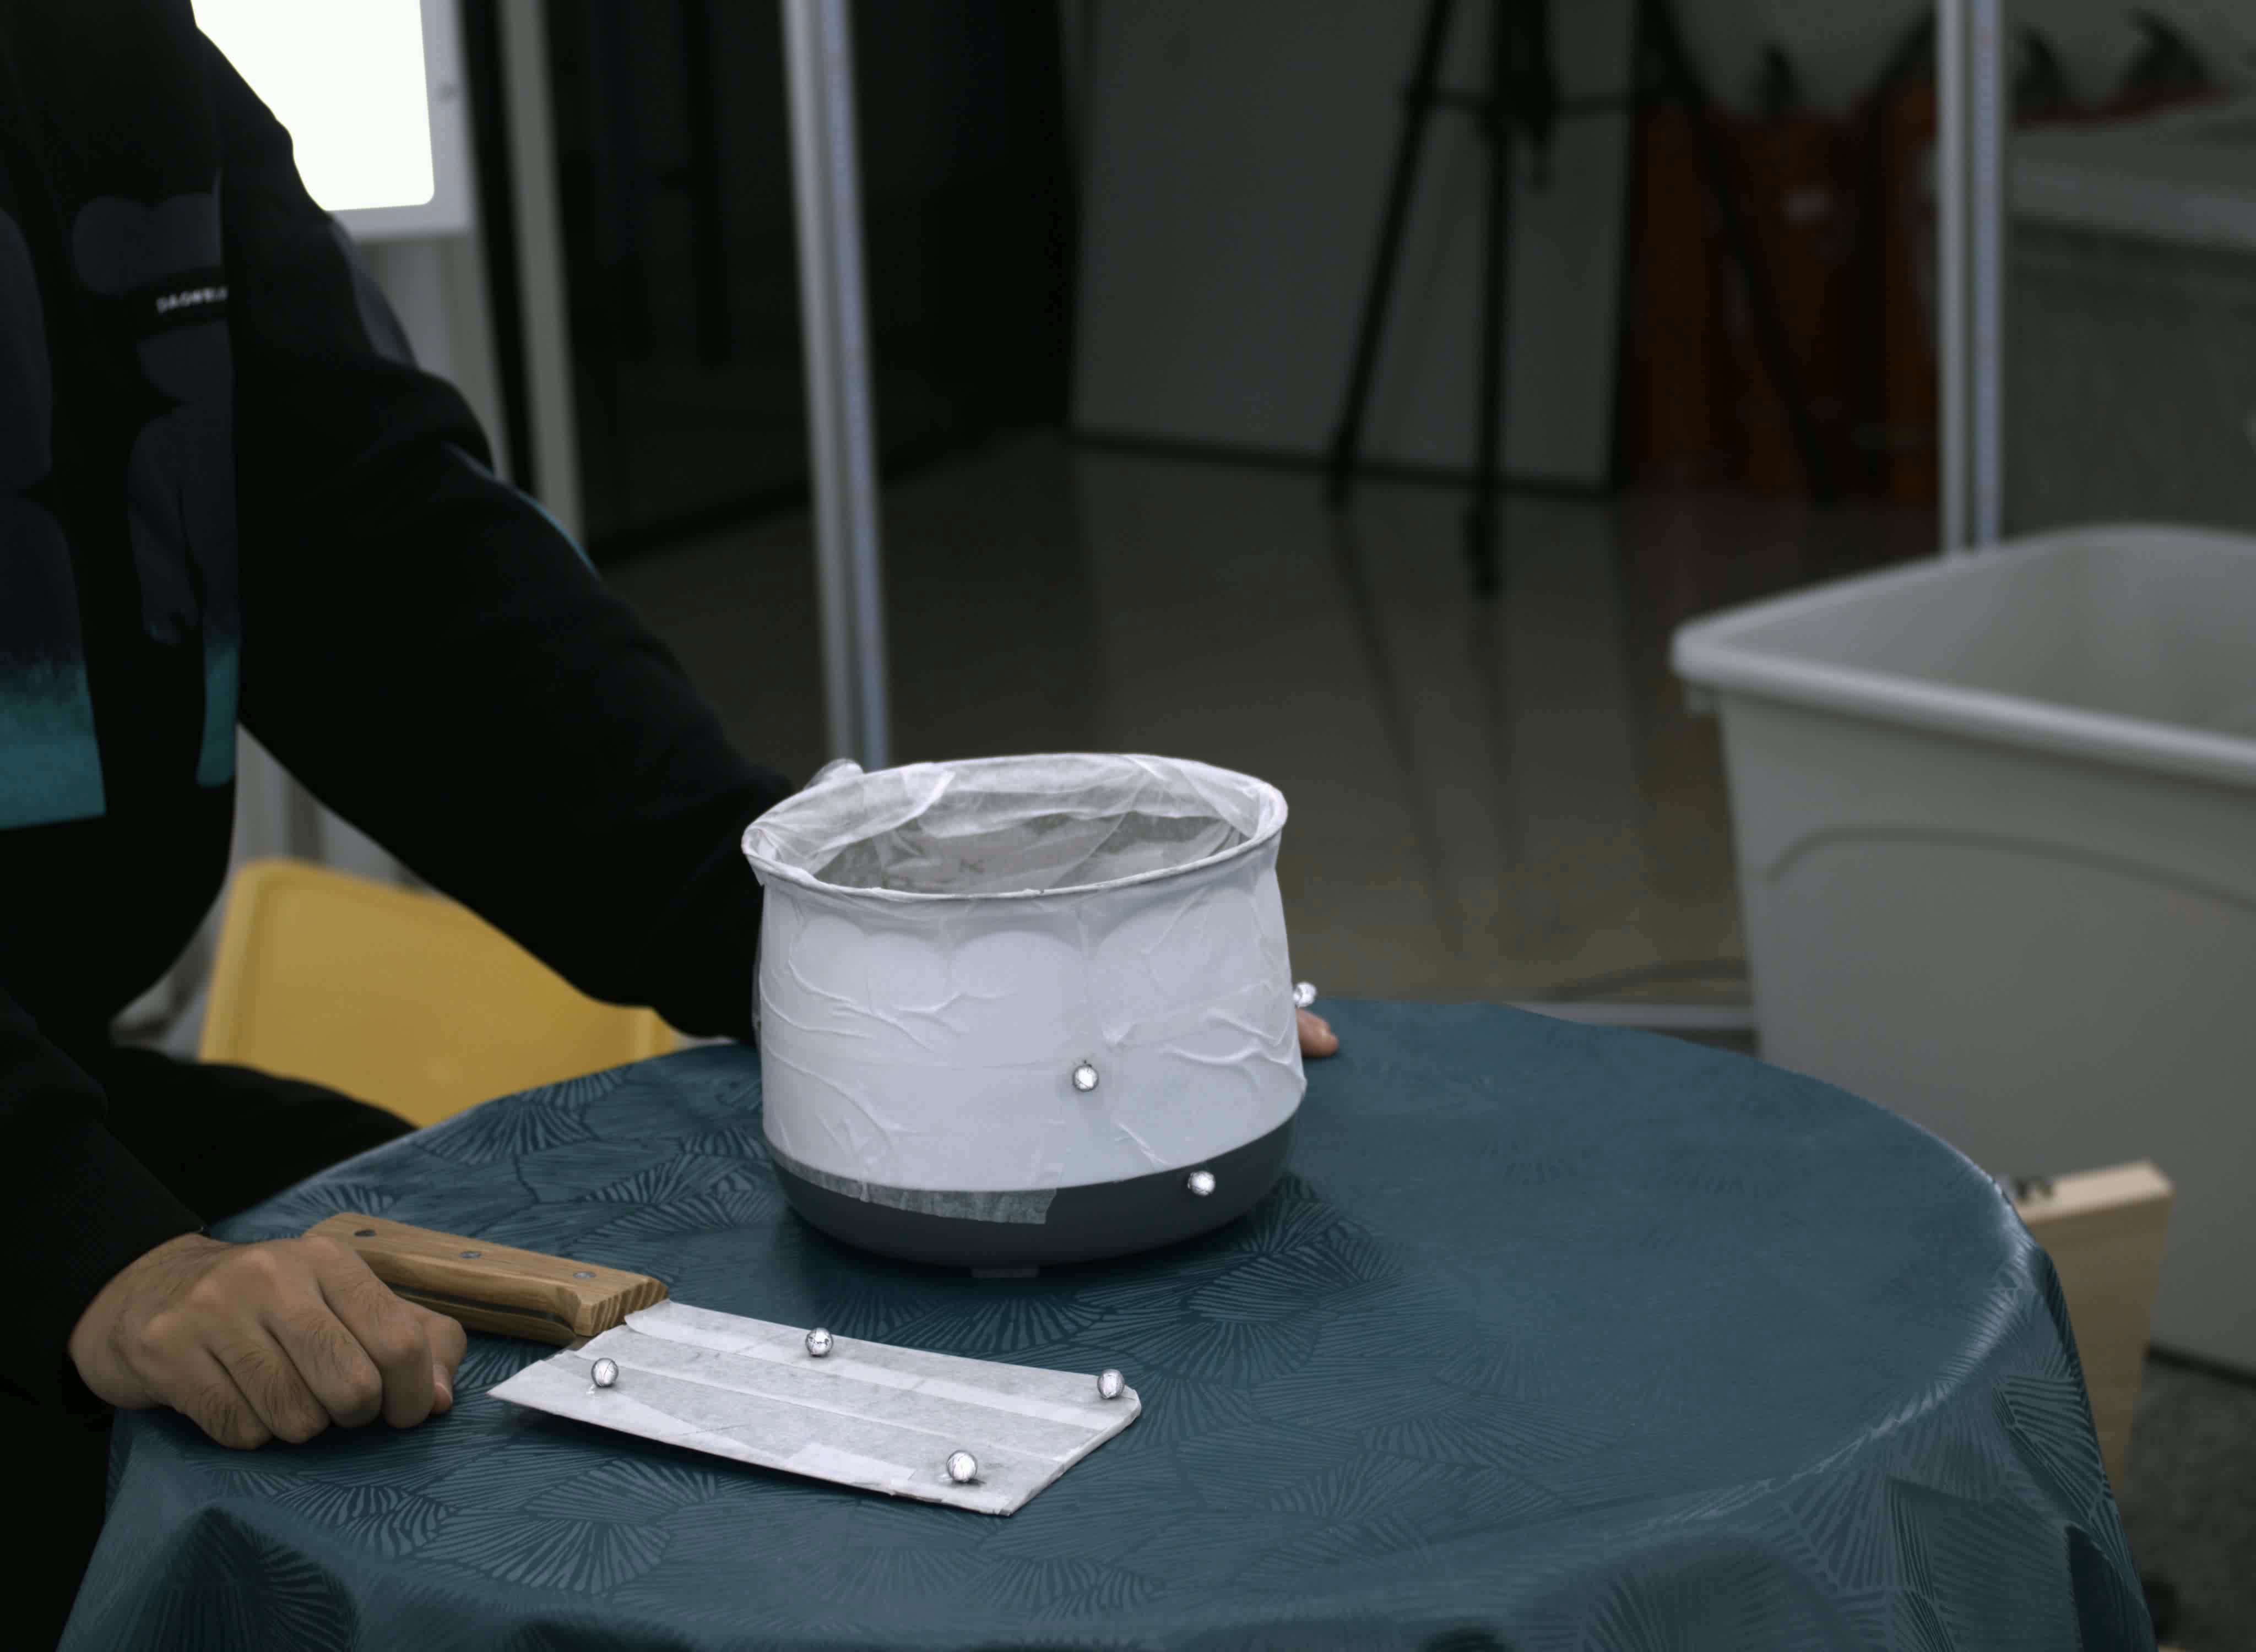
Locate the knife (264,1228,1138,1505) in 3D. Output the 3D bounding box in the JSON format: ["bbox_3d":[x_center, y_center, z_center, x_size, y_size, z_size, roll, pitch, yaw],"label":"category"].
[{"bbox_3d":[-0.136,0.159,1.618,0.317,0.022,0.112,9,19,35],"label":"knife"}]

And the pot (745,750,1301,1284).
[{"bbox_3d":[-0.049,0.055,1.765,0.175,0.138,0.236,-13,17,-35],"label":"pot"}]
